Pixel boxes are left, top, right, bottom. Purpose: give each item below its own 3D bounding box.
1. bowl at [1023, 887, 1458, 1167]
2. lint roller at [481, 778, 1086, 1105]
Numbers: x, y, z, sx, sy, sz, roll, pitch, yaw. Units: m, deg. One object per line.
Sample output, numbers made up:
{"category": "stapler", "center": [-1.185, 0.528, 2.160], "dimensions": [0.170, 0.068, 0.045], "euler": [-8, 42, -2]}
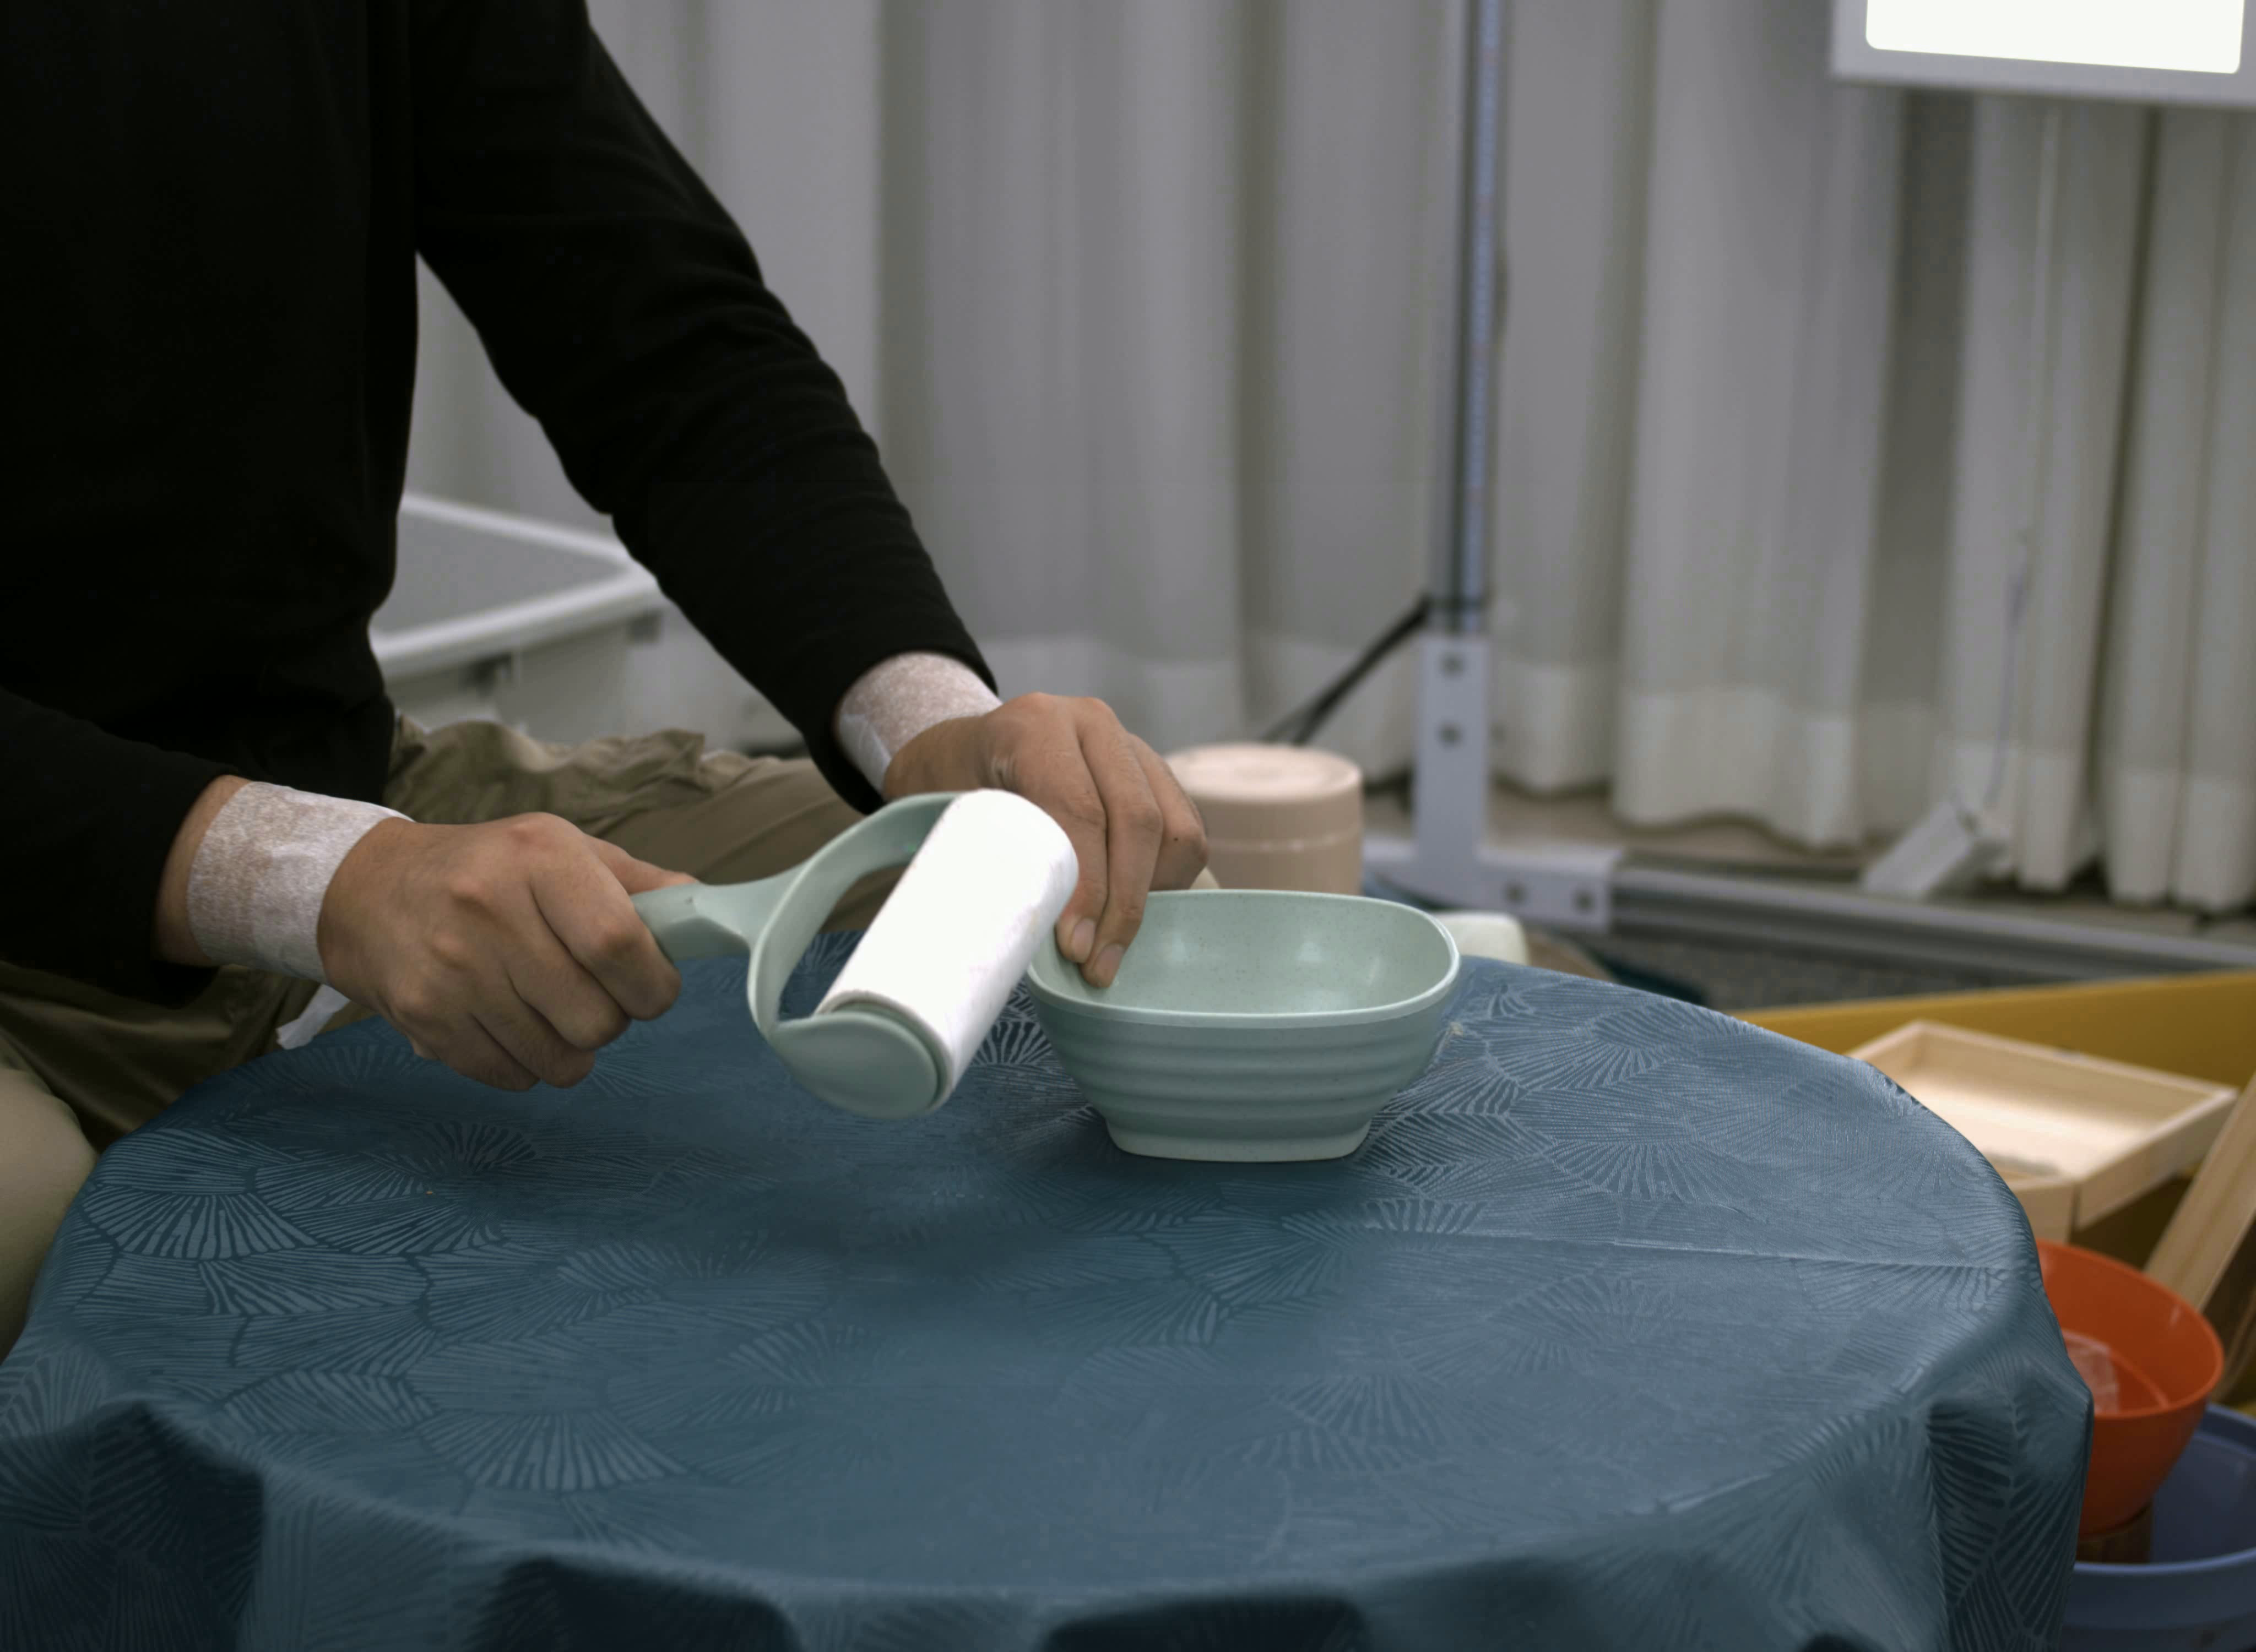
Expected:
{"category": "bowl", "center": [0.035, 0.067, 1.680], "dimensions": [0.151, 0.059, 0.150], "euler": [2, 16, 0]}
{"category": "lint roller", "center": [-0.115, 0.036, 1.596], "dimensions": [0.195, 0.049, 0.116], "euler": [-1, 38, 27]}
